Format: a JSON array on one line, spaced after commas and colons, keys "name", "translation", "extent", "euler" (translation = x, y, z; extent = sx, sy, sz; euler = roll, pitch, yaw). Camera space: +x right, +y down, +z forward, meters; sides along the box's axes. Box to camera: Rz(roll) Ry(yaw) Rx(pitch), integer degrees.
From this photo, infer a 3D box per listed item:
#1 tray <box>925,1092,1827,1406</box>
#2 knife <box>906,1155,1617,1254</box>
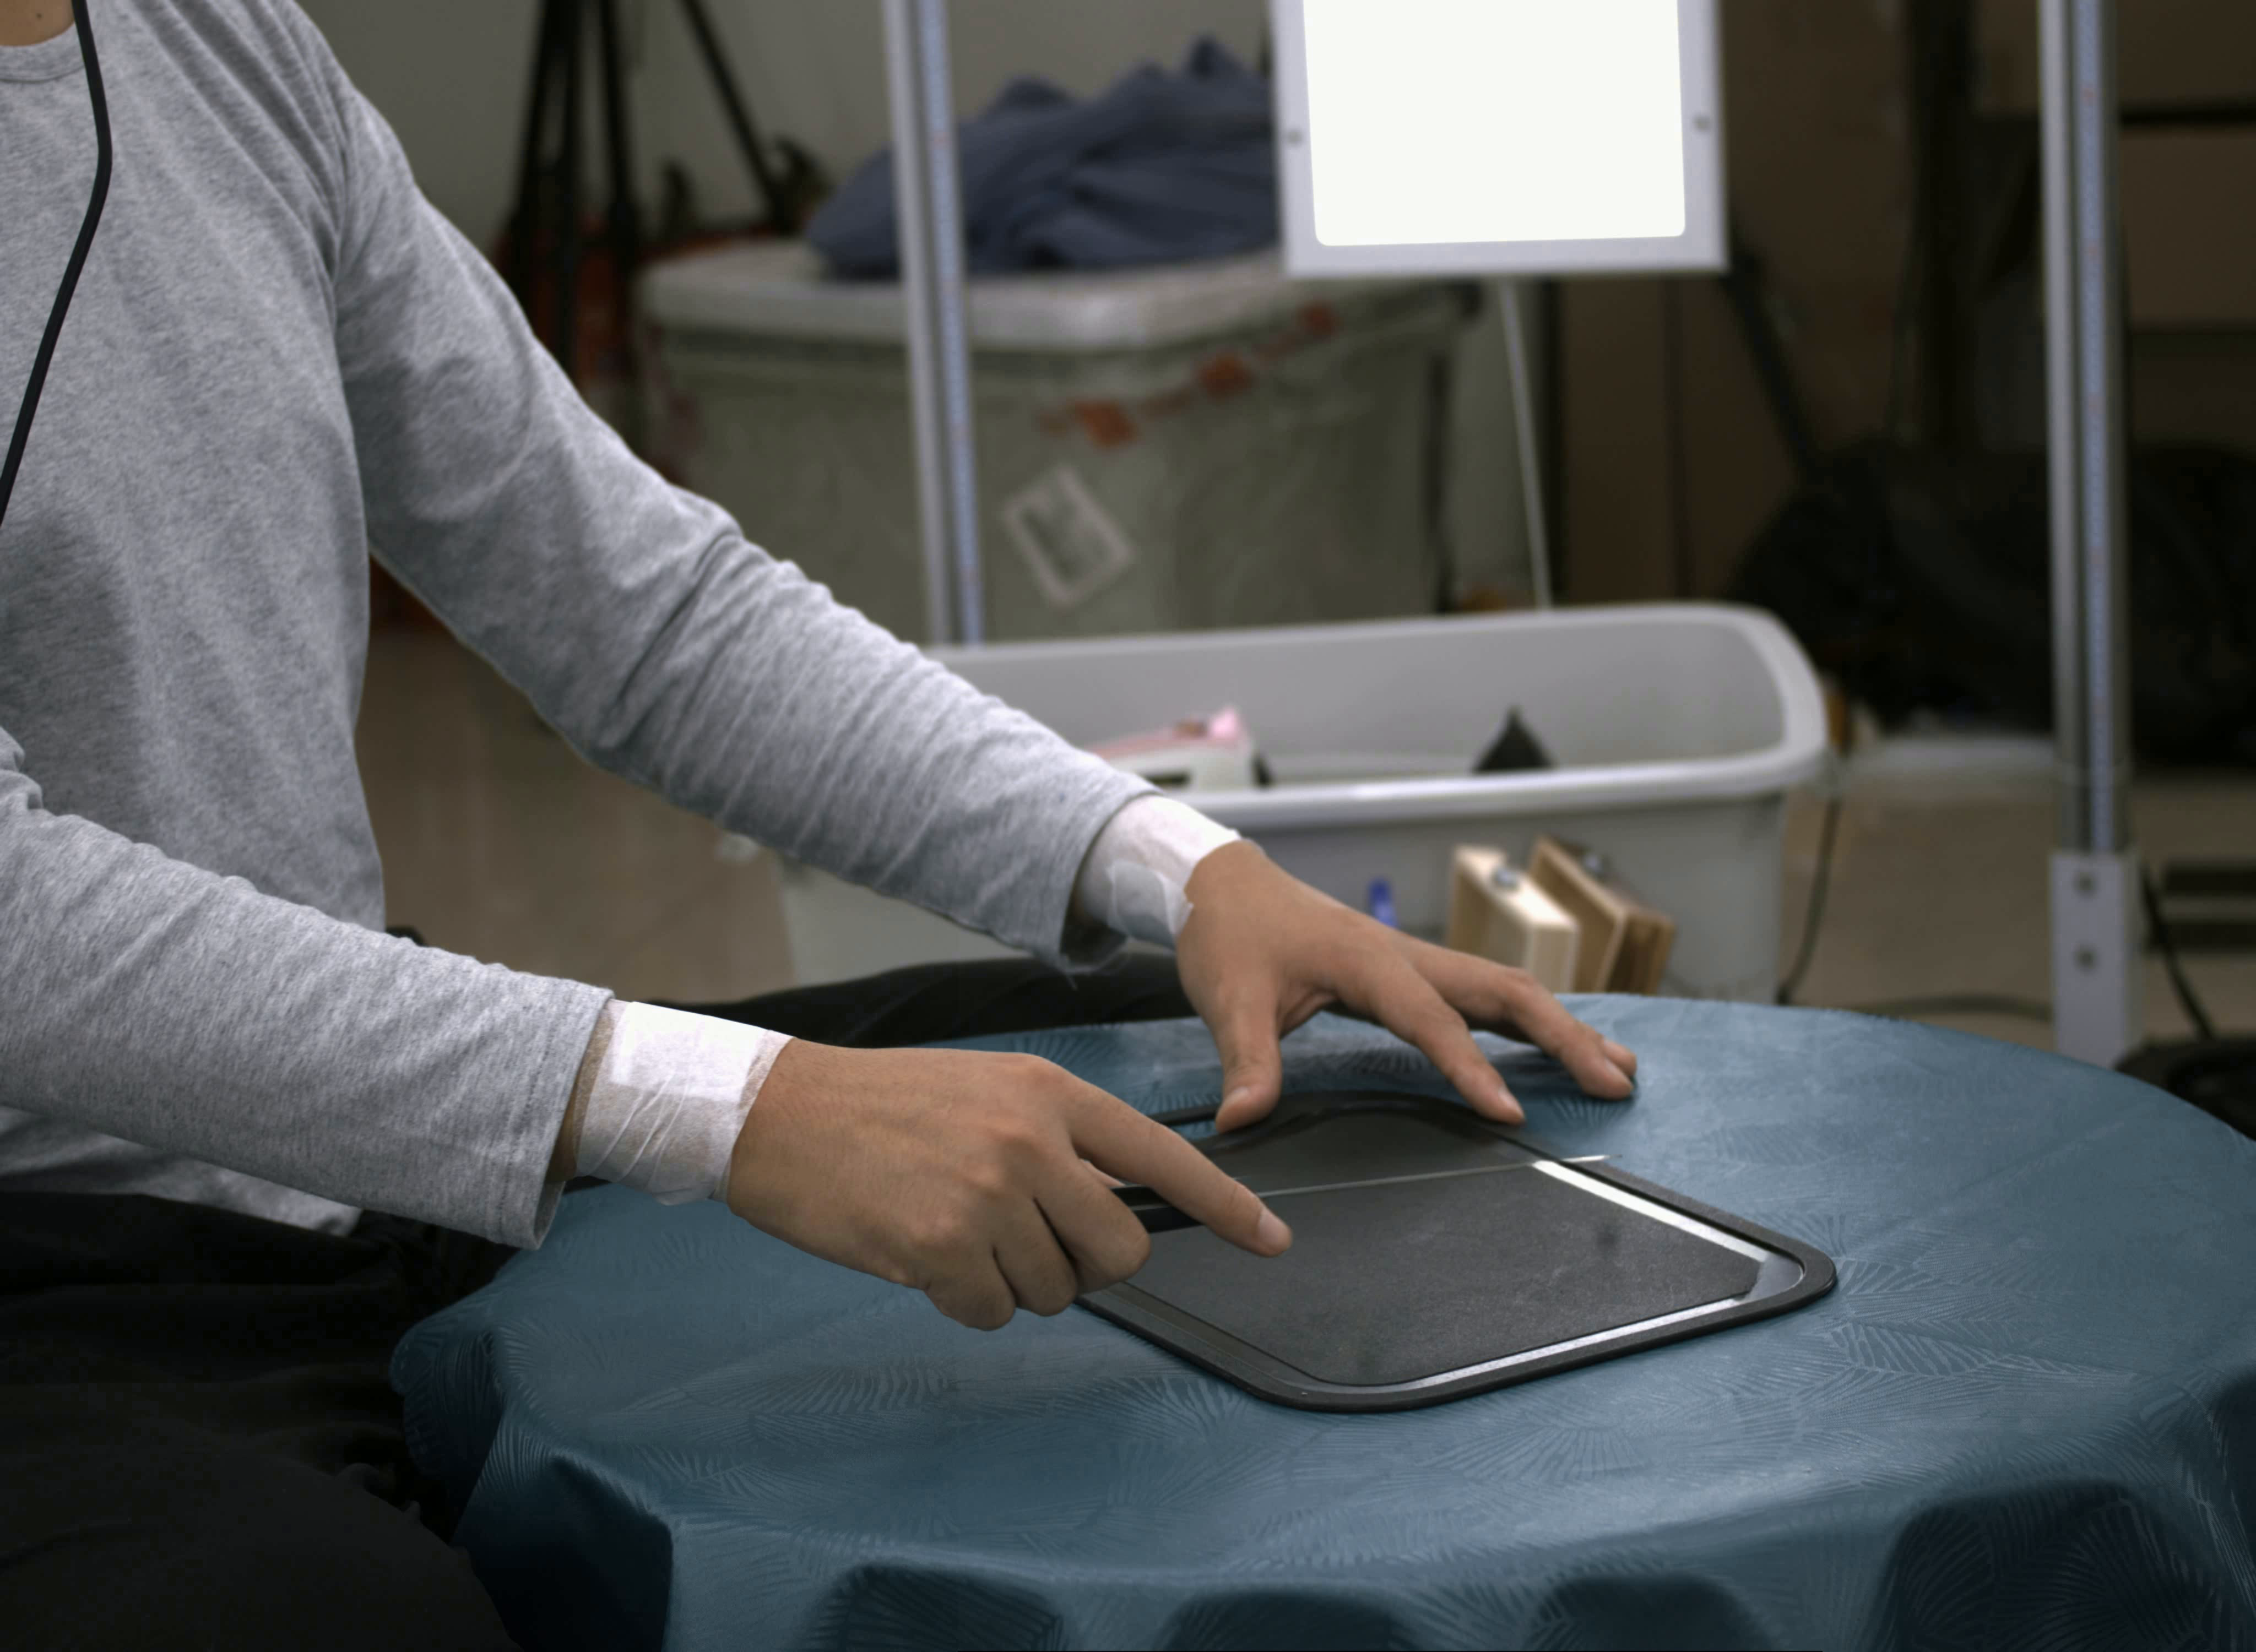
[{"name": "tray", "translation": [0.072, 0.134, 1.834], "extent": [0.207, 0.010, 0.331], "euler": [-12, 15, -25]}, {"name": "knife", "translation": [0.046, 0.116, 1.735], "extent": [0.234, 0.016, 0.025], "euler": [-5, -2, -15]}]
